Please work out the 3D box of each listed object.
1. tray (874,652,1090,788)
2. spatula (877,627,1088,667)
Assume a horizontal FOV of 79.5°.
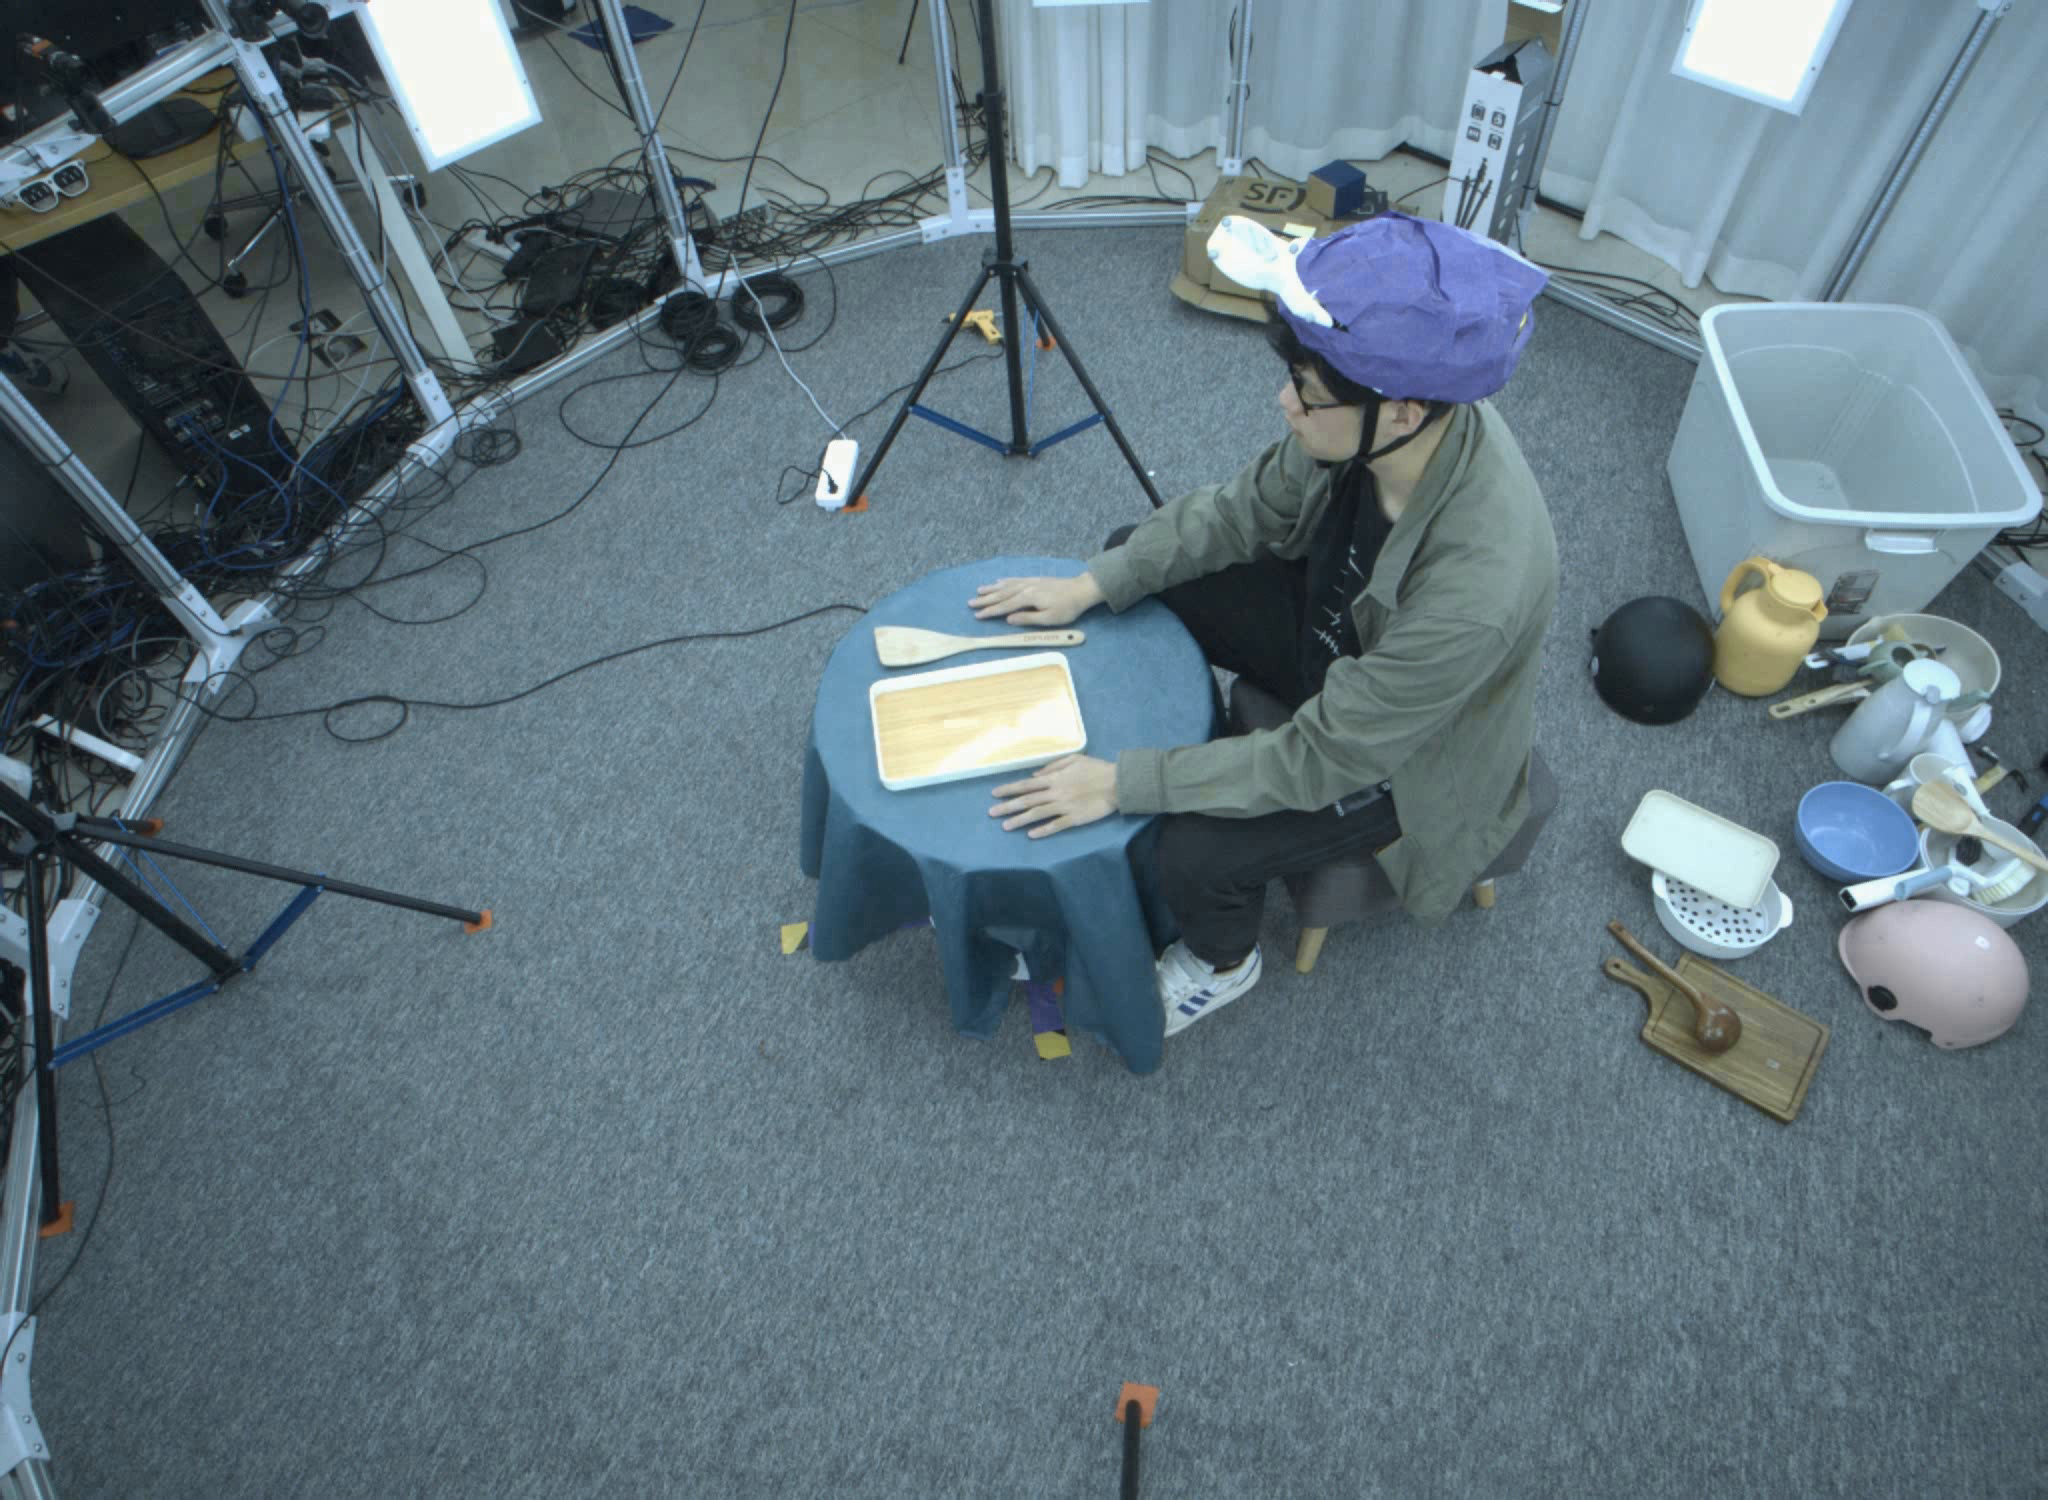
[{"bbox_3d":[-0.065,-0.047,1.810,0.301,0.027,0.189,-8,55,-6],"label":"tray"},{"bbox_3d":[-0.065,-0.169,1.904,0.328,0.017,0.079,-4,55,-1],"label":"spatula"}]
